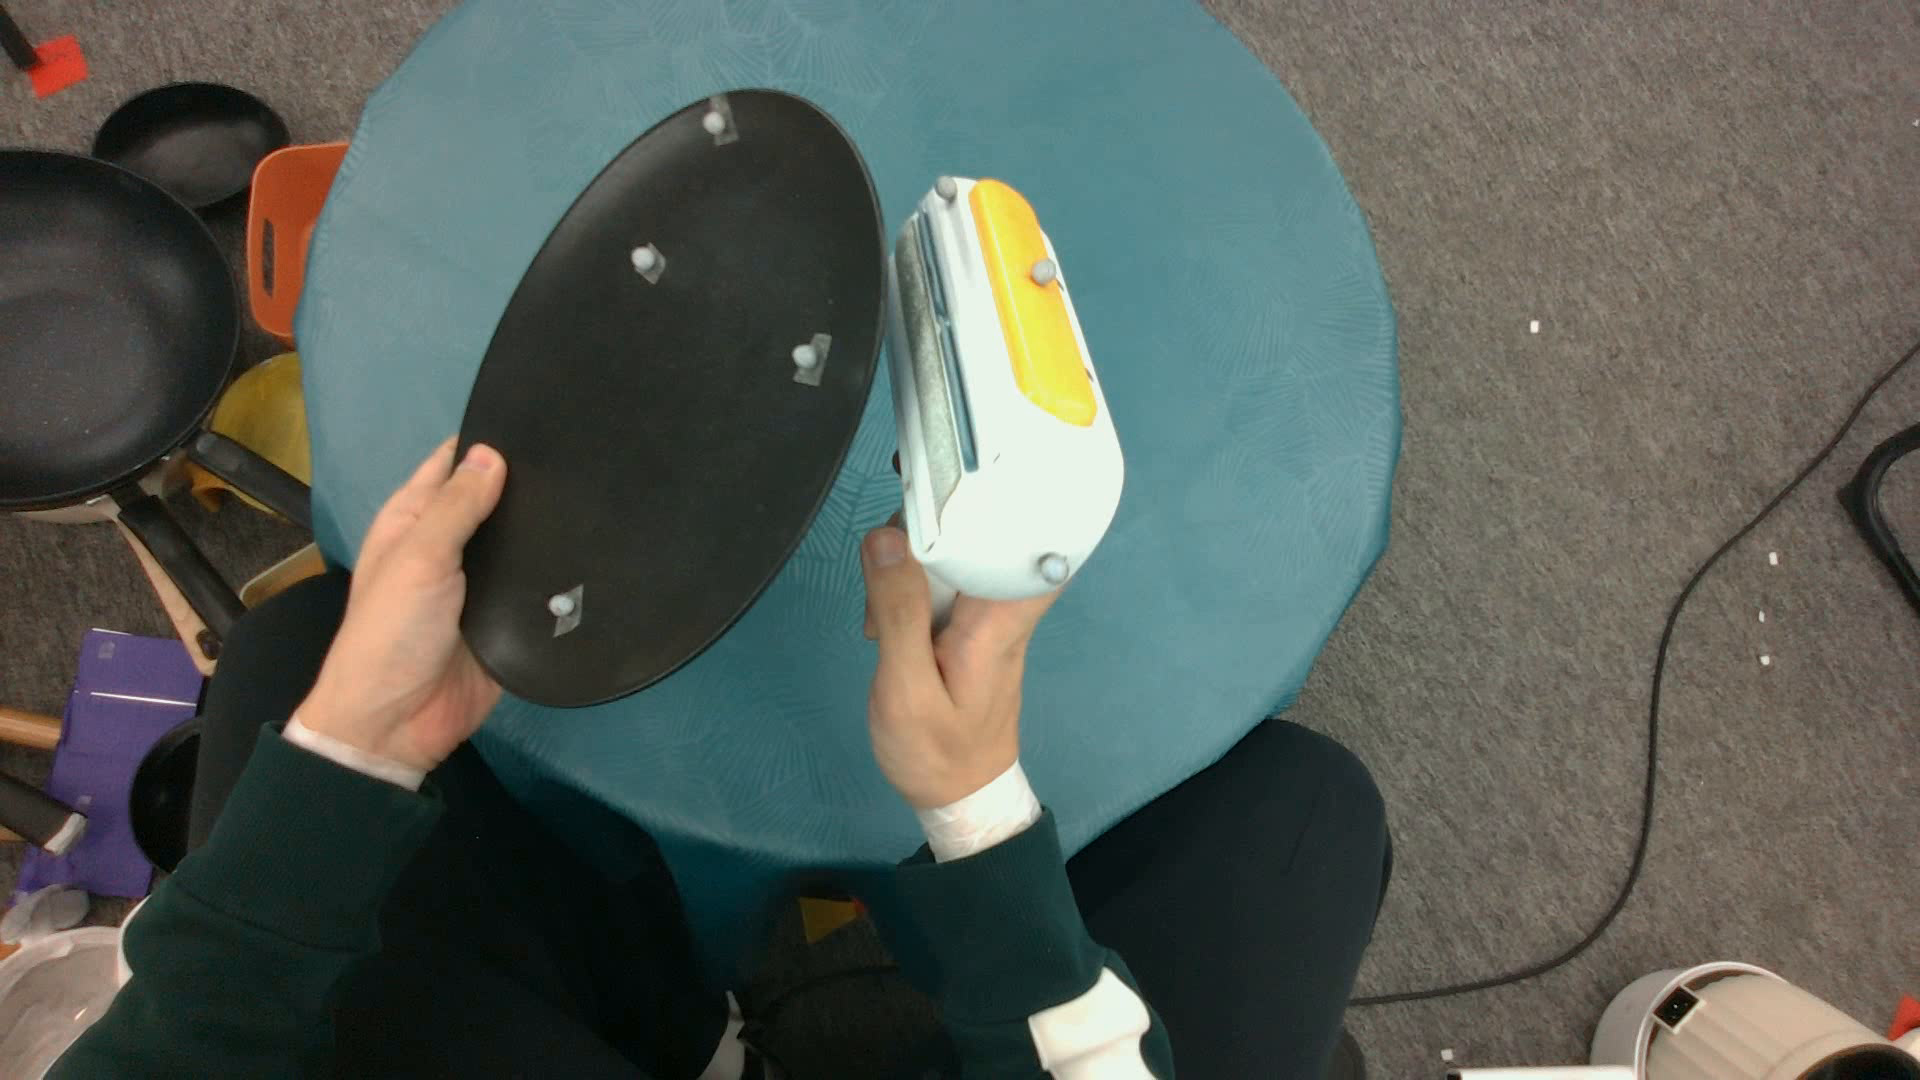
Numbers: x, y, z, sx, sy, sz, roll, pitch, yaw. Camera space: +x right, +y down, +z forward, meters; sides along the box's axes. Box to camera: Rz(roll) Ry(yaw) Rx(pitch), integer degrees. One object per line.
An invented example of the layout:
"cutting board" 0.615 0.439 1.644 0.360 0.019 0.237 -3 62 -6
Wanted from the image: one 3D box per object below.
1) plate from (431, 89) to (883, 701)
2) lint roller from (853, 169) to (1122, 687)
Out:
"plate" -0.118 -0.056 0.520 0.023 0.243 0.245 27 60 -48
"lint roller" -0.012 -0.016 0.507 0.074 0.191 0.193 11 42 -24
